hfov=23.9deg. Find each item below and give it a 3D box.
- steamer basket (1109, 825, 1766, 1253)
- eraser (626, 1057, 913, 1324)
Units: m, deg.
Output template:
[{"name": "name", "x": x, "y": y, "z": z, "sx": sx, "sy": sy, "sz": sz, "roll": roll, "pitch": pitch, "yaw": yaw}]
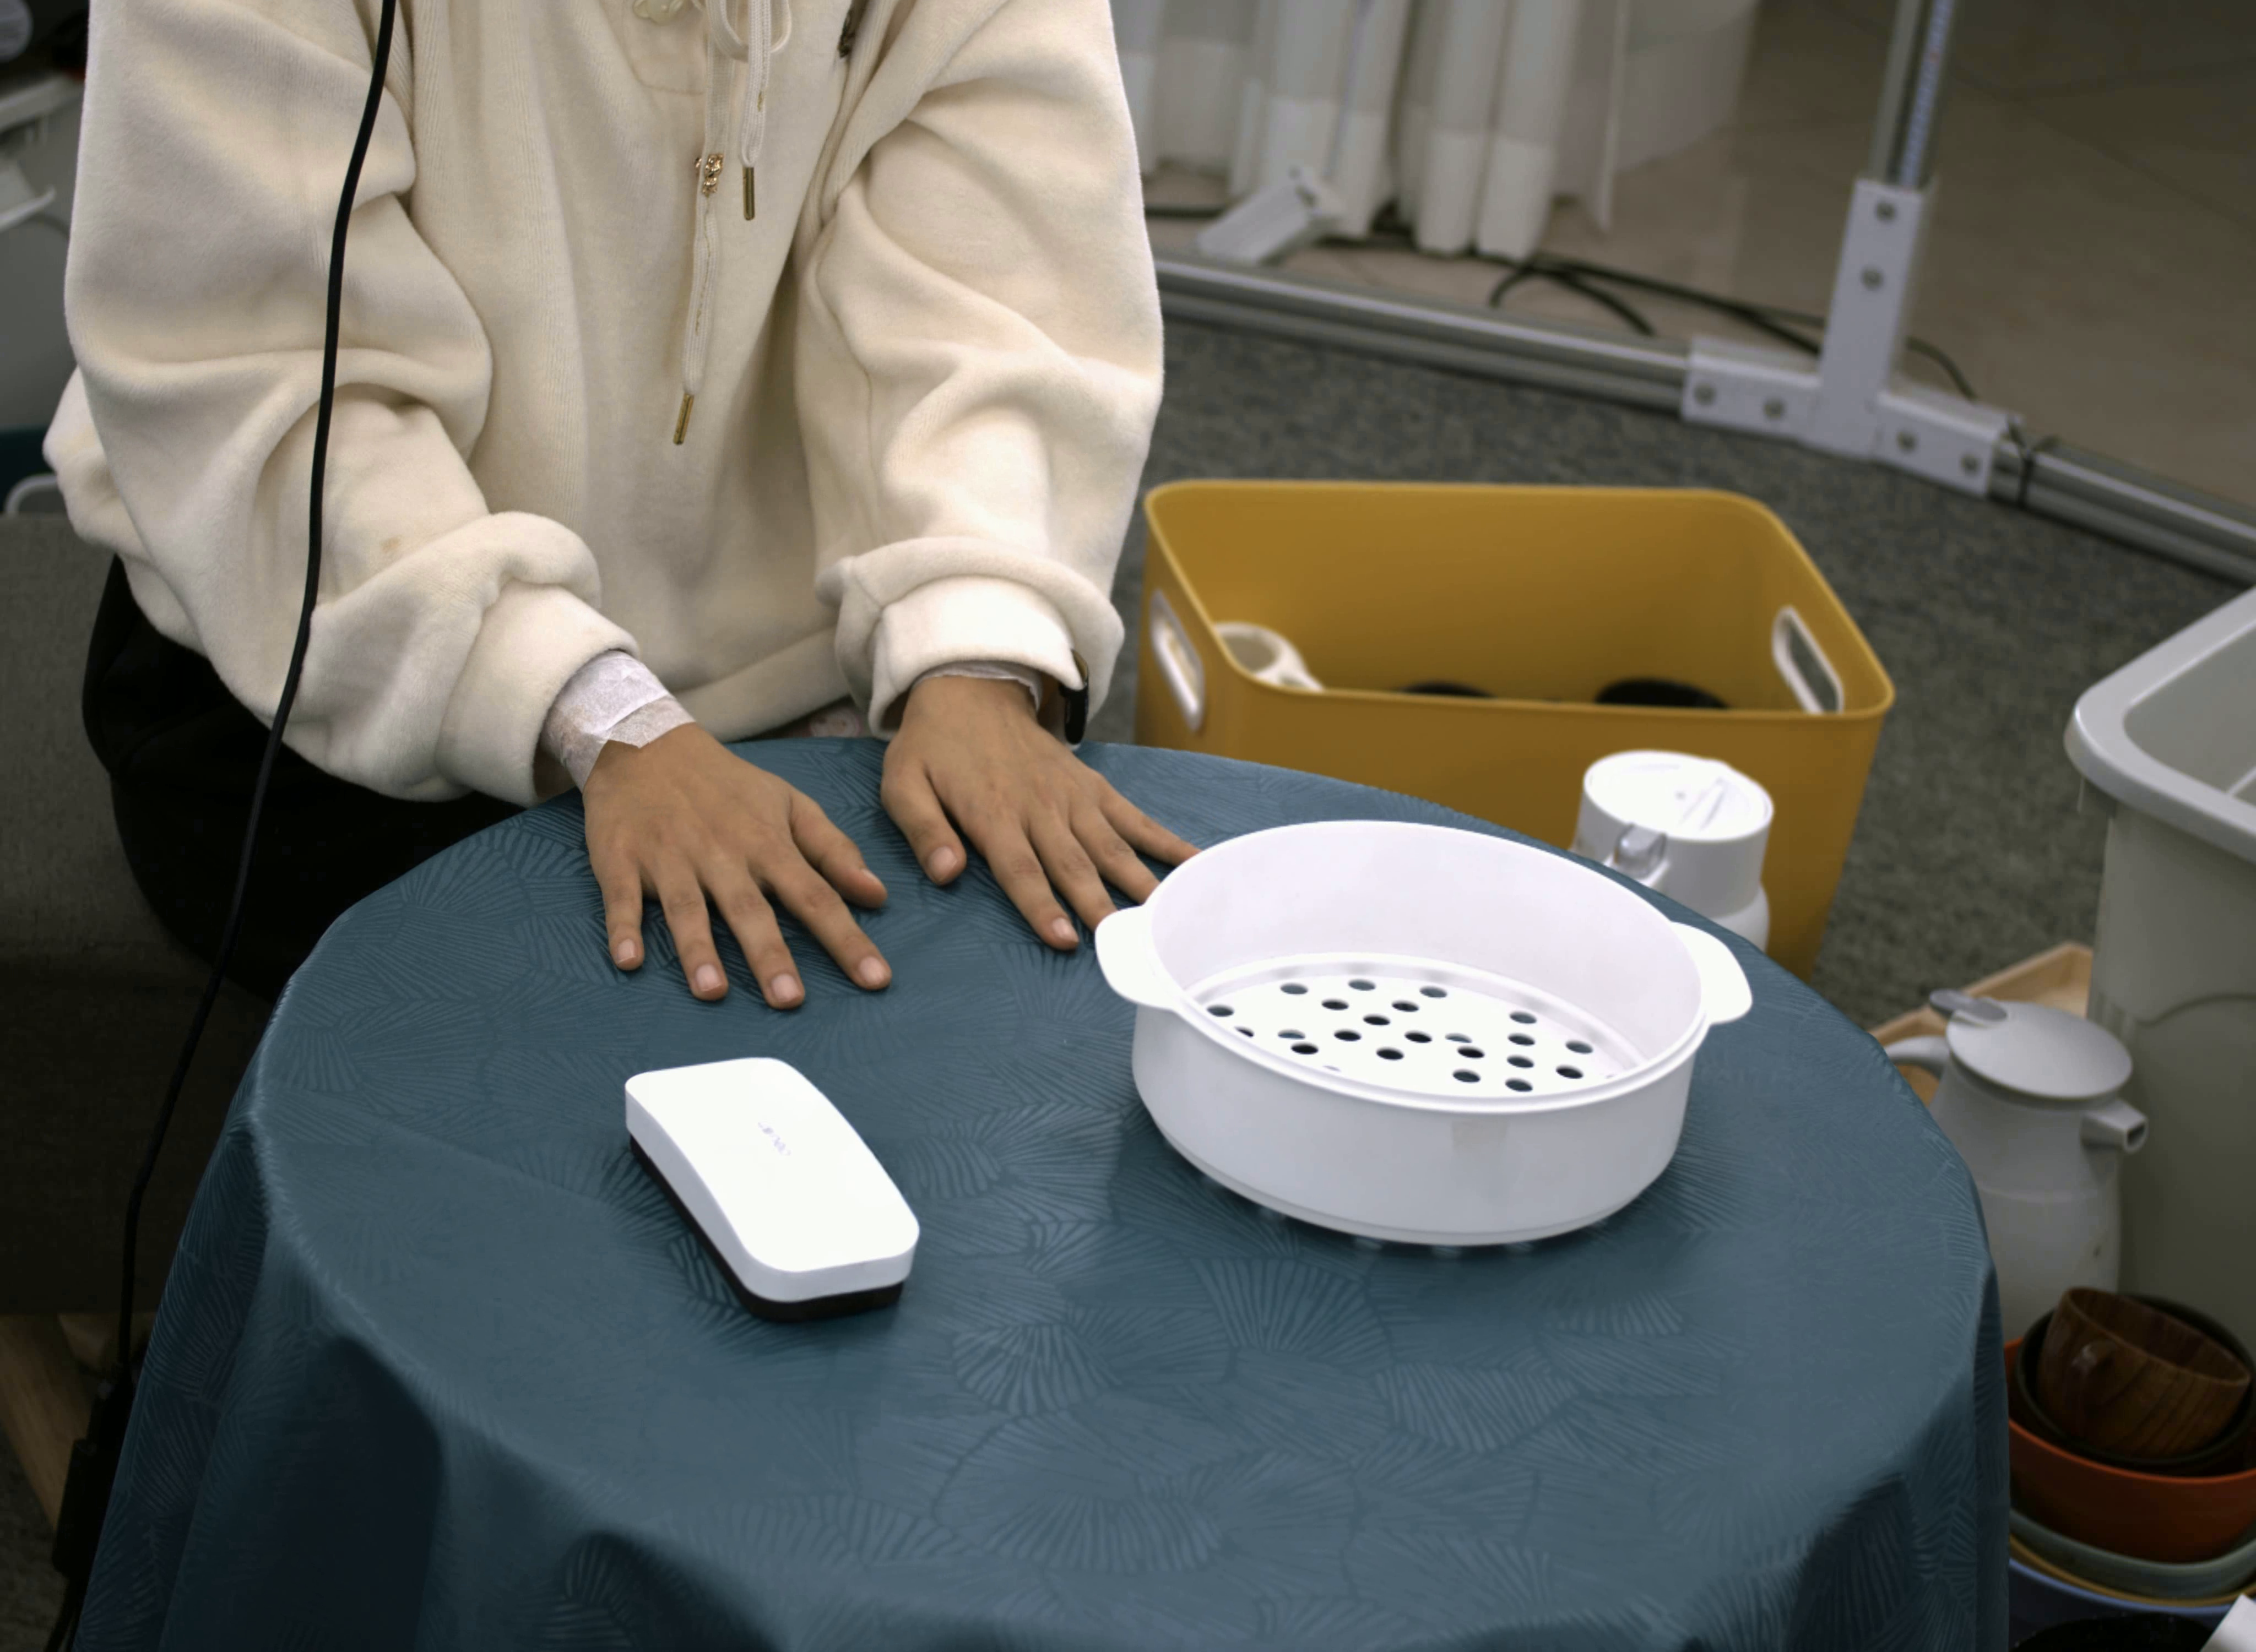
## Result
[{"name": "steamer basket", "x": 0.104, "y": 0.073, "z": 1.851, "sx": 0.229, "sy": 0.069, "sz": 0.203, "roll": 2, "pitch": 27, "yaw": -10}, {"name": "eraser", "x": -0.119, "y": 0.116, "z": 1.756, "sx": 0.063, "sy": 0.034, "sz": 0.132, "roll": -7, "pitch": 30, "yaw": -24}]
